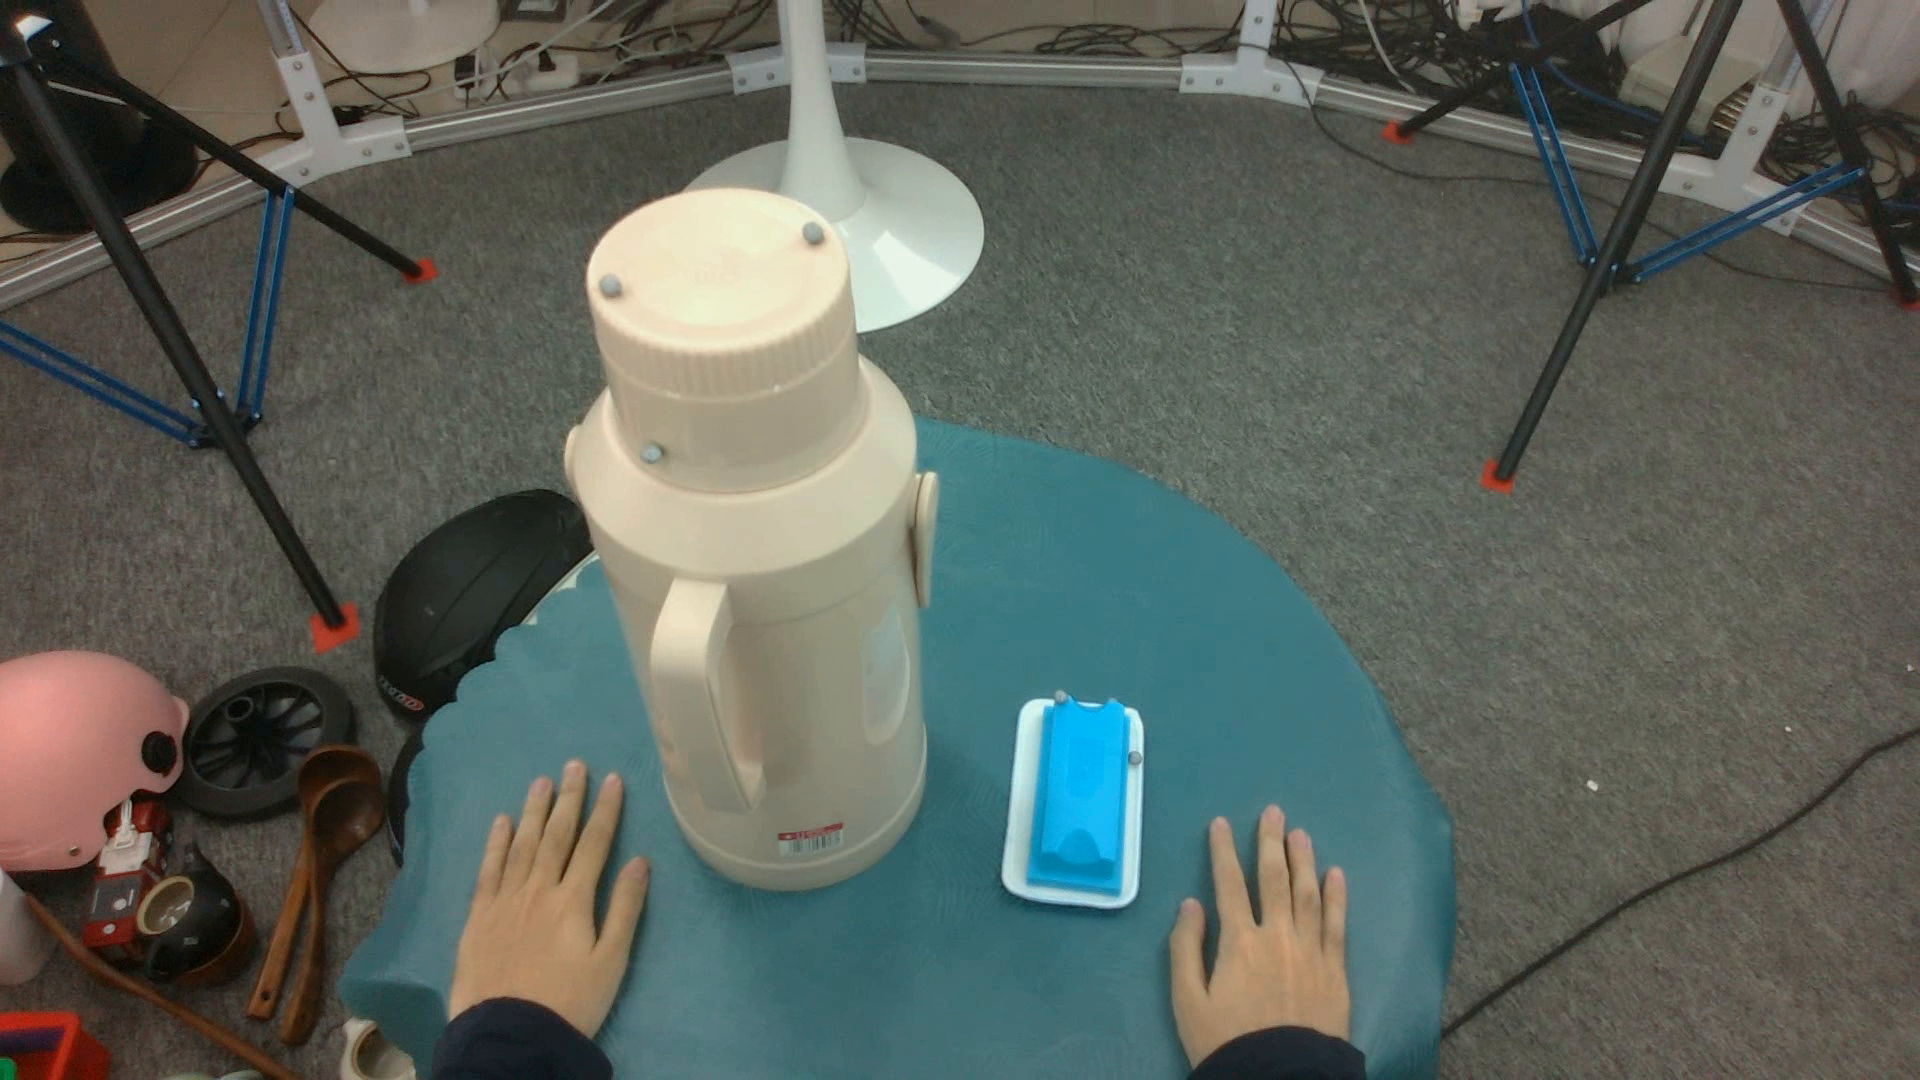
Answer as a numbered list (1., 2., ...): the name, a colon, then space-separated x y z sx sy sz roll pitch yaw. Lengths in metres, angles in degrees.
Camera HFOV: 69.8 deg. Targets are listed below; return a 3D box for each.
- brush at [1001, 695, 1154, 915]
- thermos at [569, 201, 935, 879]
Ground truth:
1. brush: 0.073 0.151 0.828 0.084 0.055 0.144 6 47 8
2. thermos: -0.104 0.029 0.711 0.175 0.404 0.208 8 51 4
